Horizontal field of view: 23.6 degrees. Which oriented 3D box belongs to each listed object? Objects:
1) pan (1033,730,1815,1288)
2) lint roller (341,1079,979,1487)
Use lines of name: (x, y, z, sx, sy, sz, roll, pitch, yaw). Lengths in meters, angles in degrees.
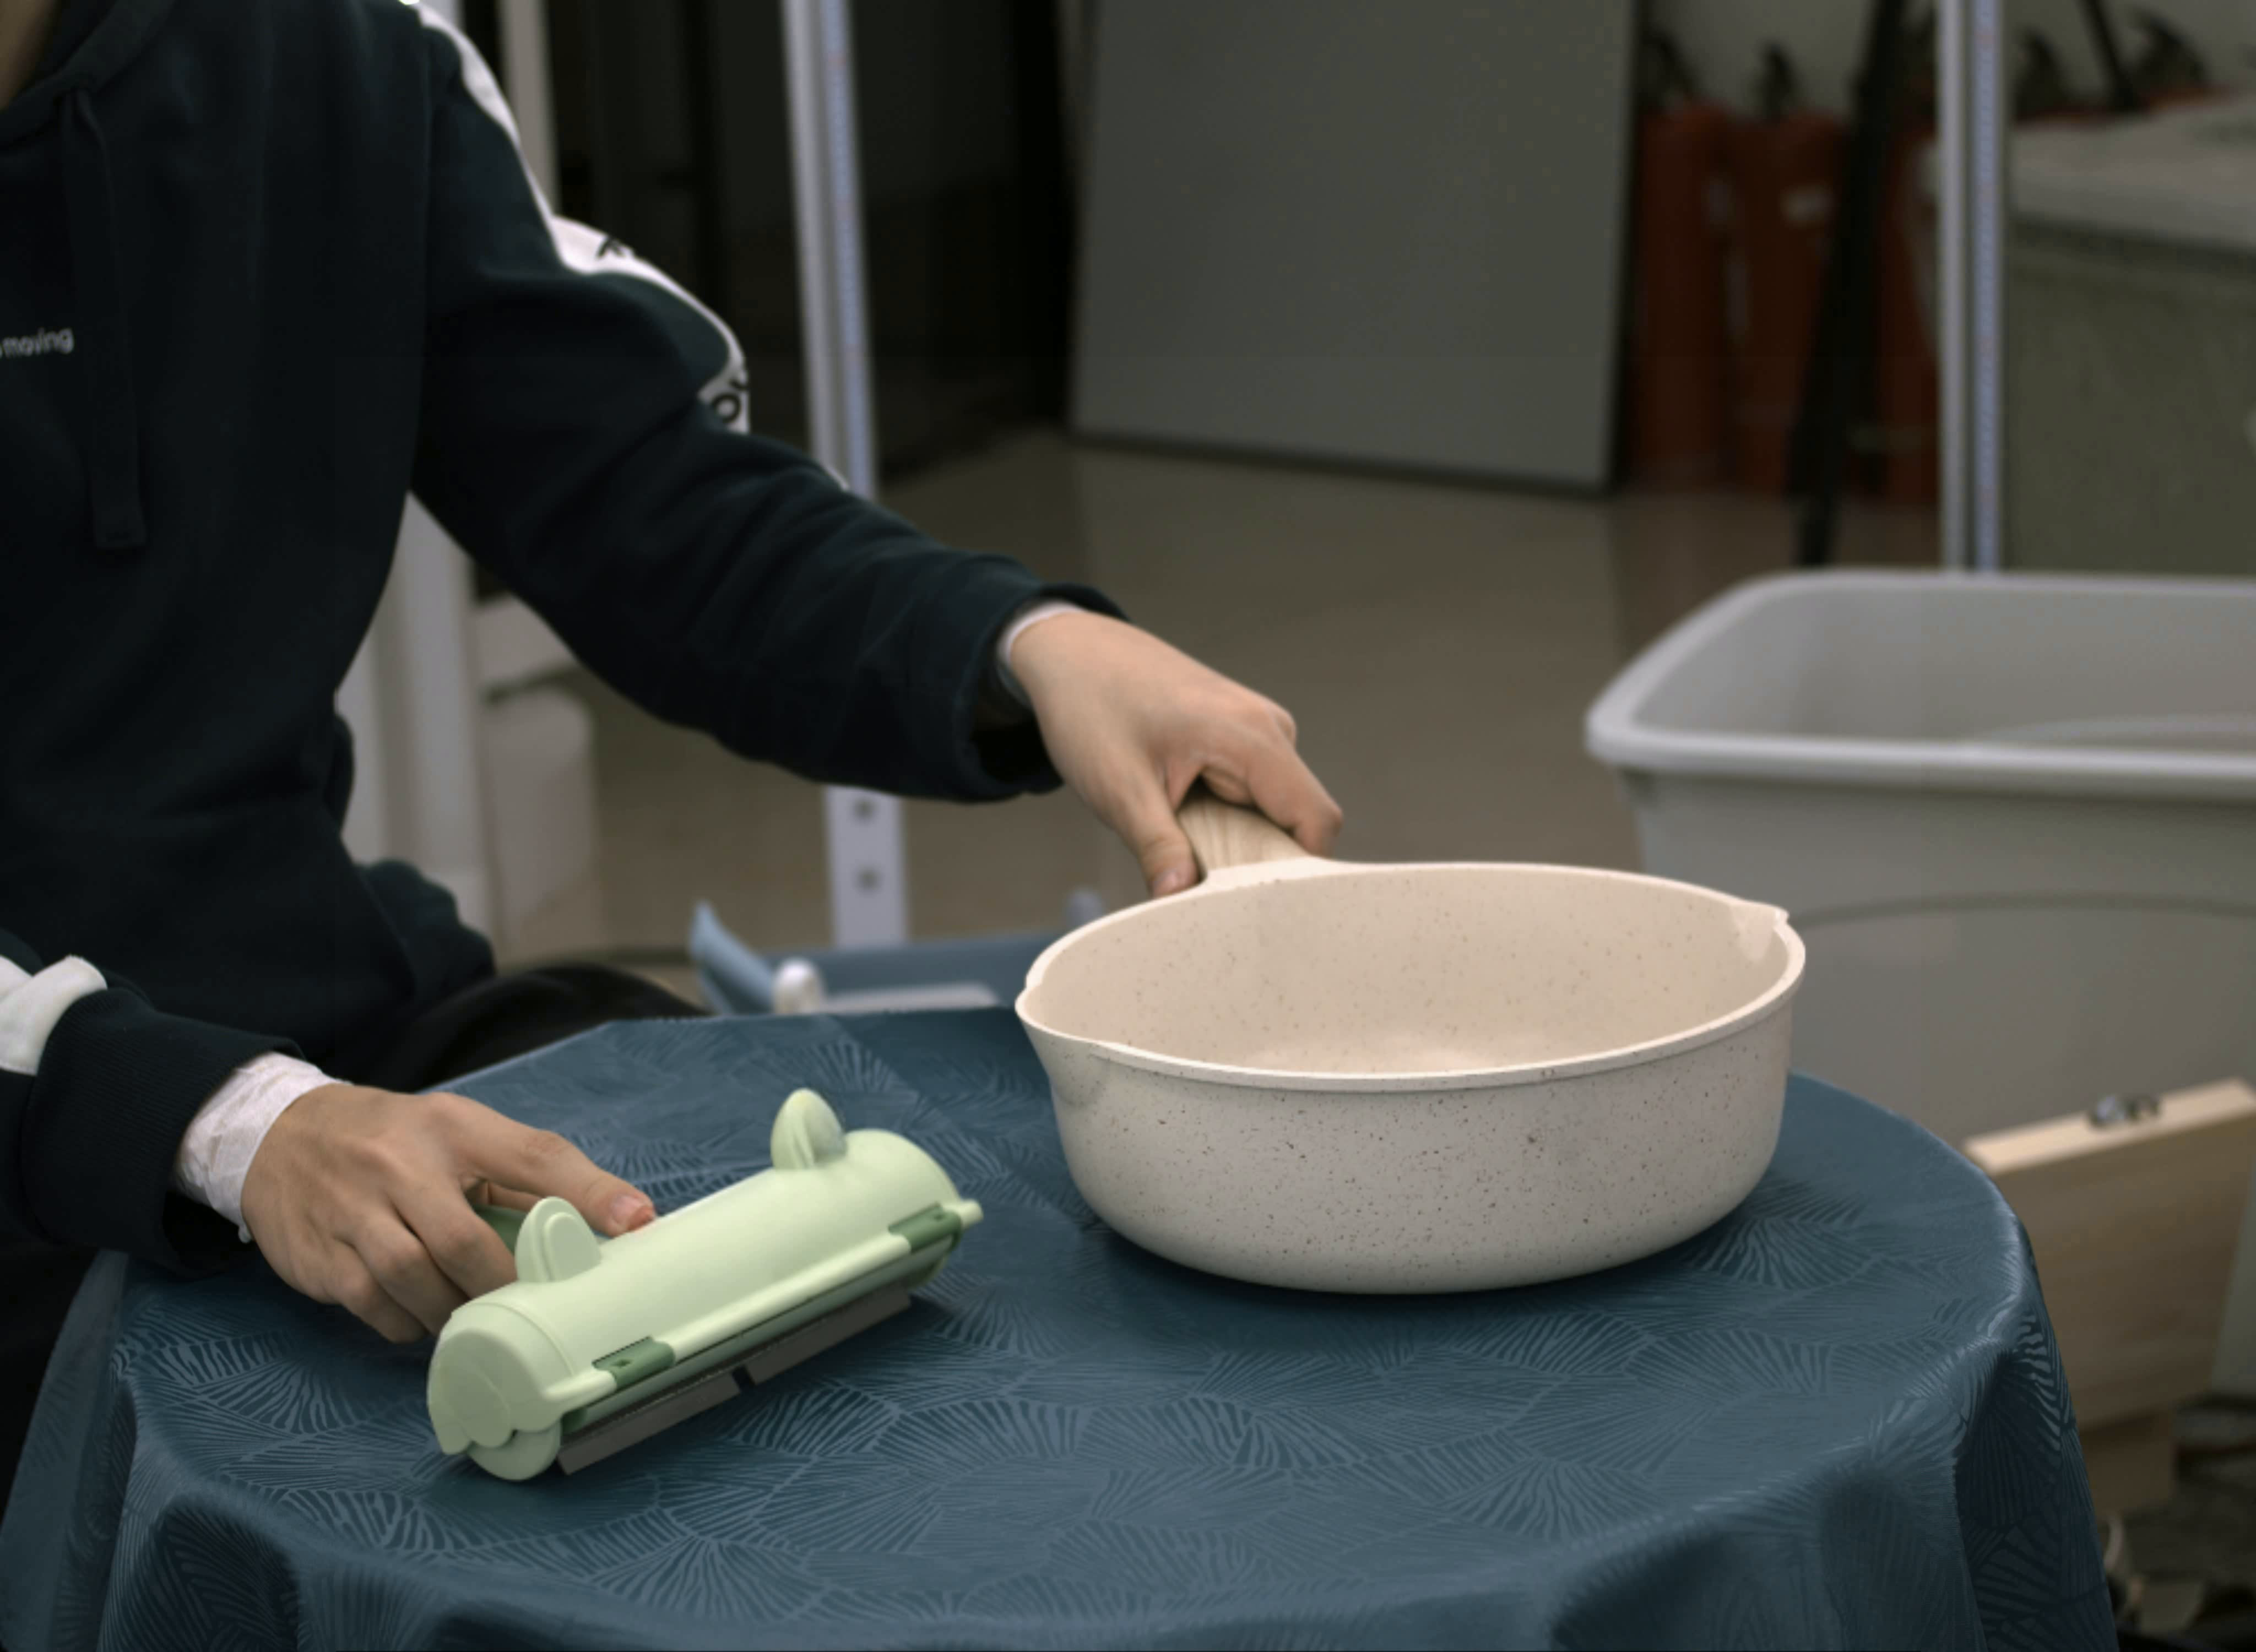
pan: (0.067, 0.055, 1.813, 0.258, 0.103, 0.439, -10, 14, -17)
lint roller: (-0.171, 0.121, 1.641, 0.184, 0.083, 0.195, 16, 25, 34)
